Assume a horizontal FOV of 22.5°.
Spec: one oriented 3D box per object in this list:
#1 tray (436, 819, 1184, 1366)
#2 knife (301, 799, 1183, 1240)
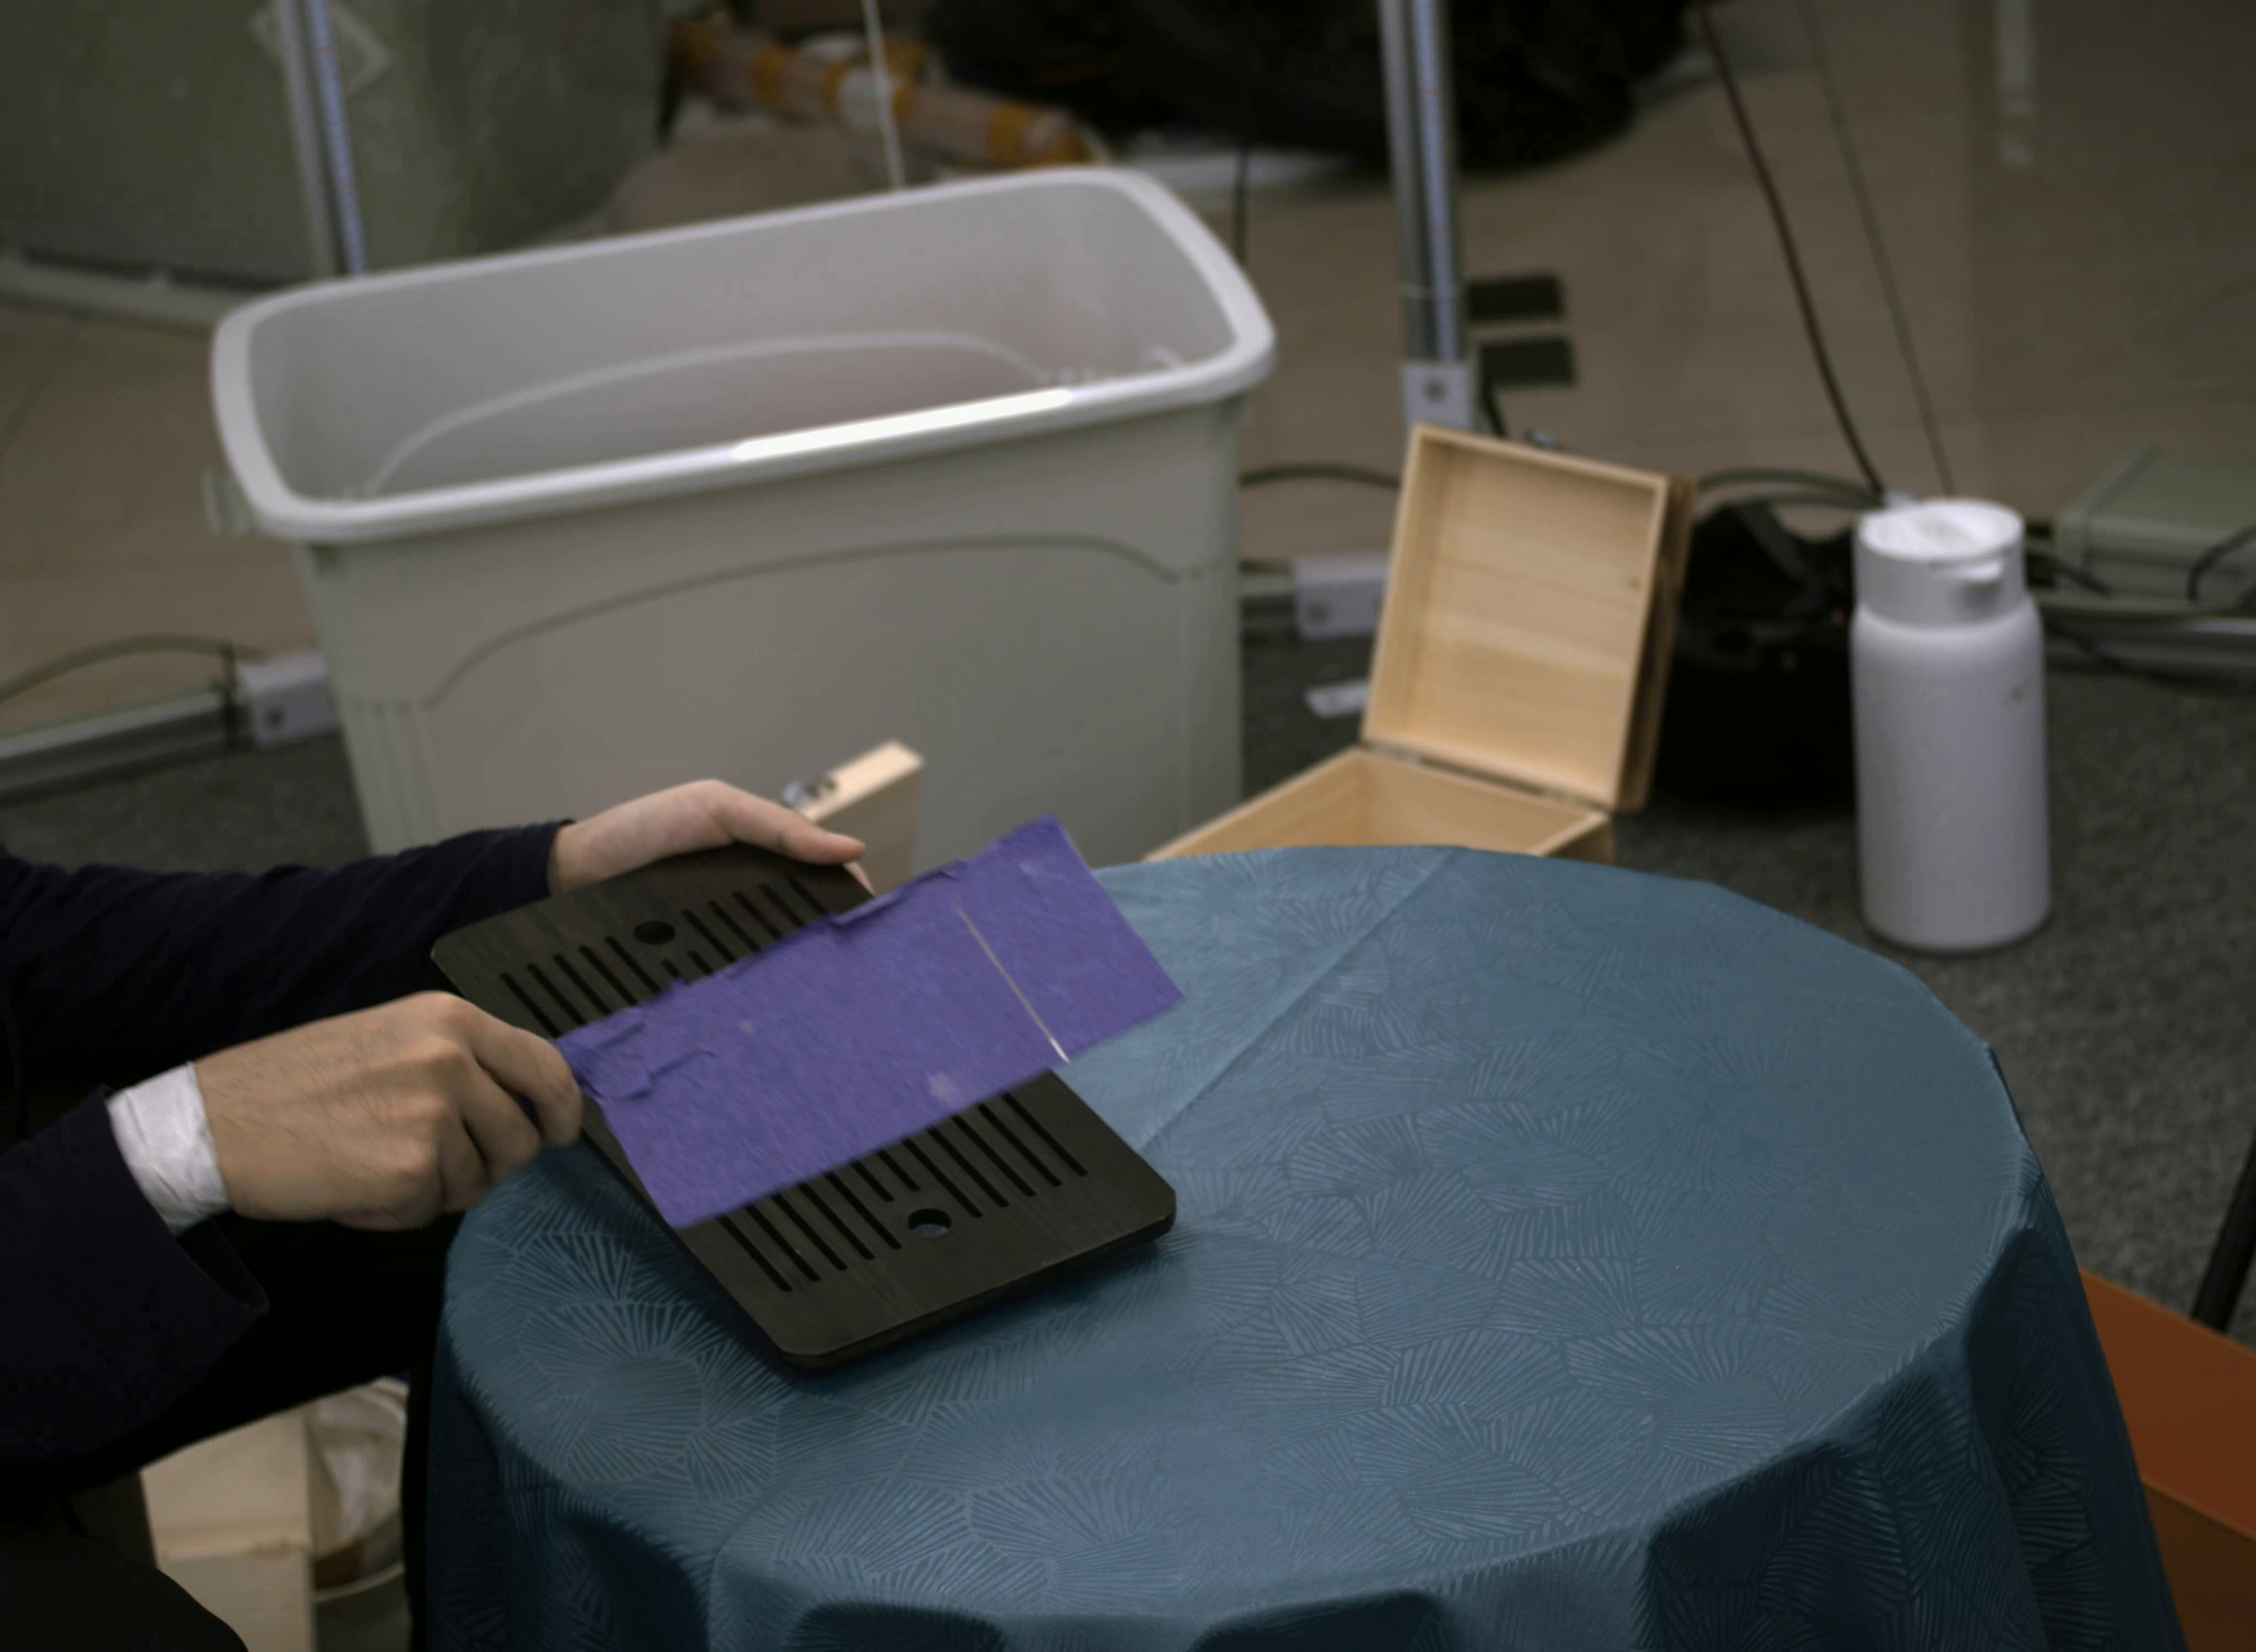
[{"bbox_3d":[-0.126,0.099,2.178,0.169,0.019,0.302,-21,40,-26],"label":"tray"},{"bbox_3d":[-0.131,0.088,1.994,0.313,0.033,0.102,-26,63,-16],"label":"knife"}]
